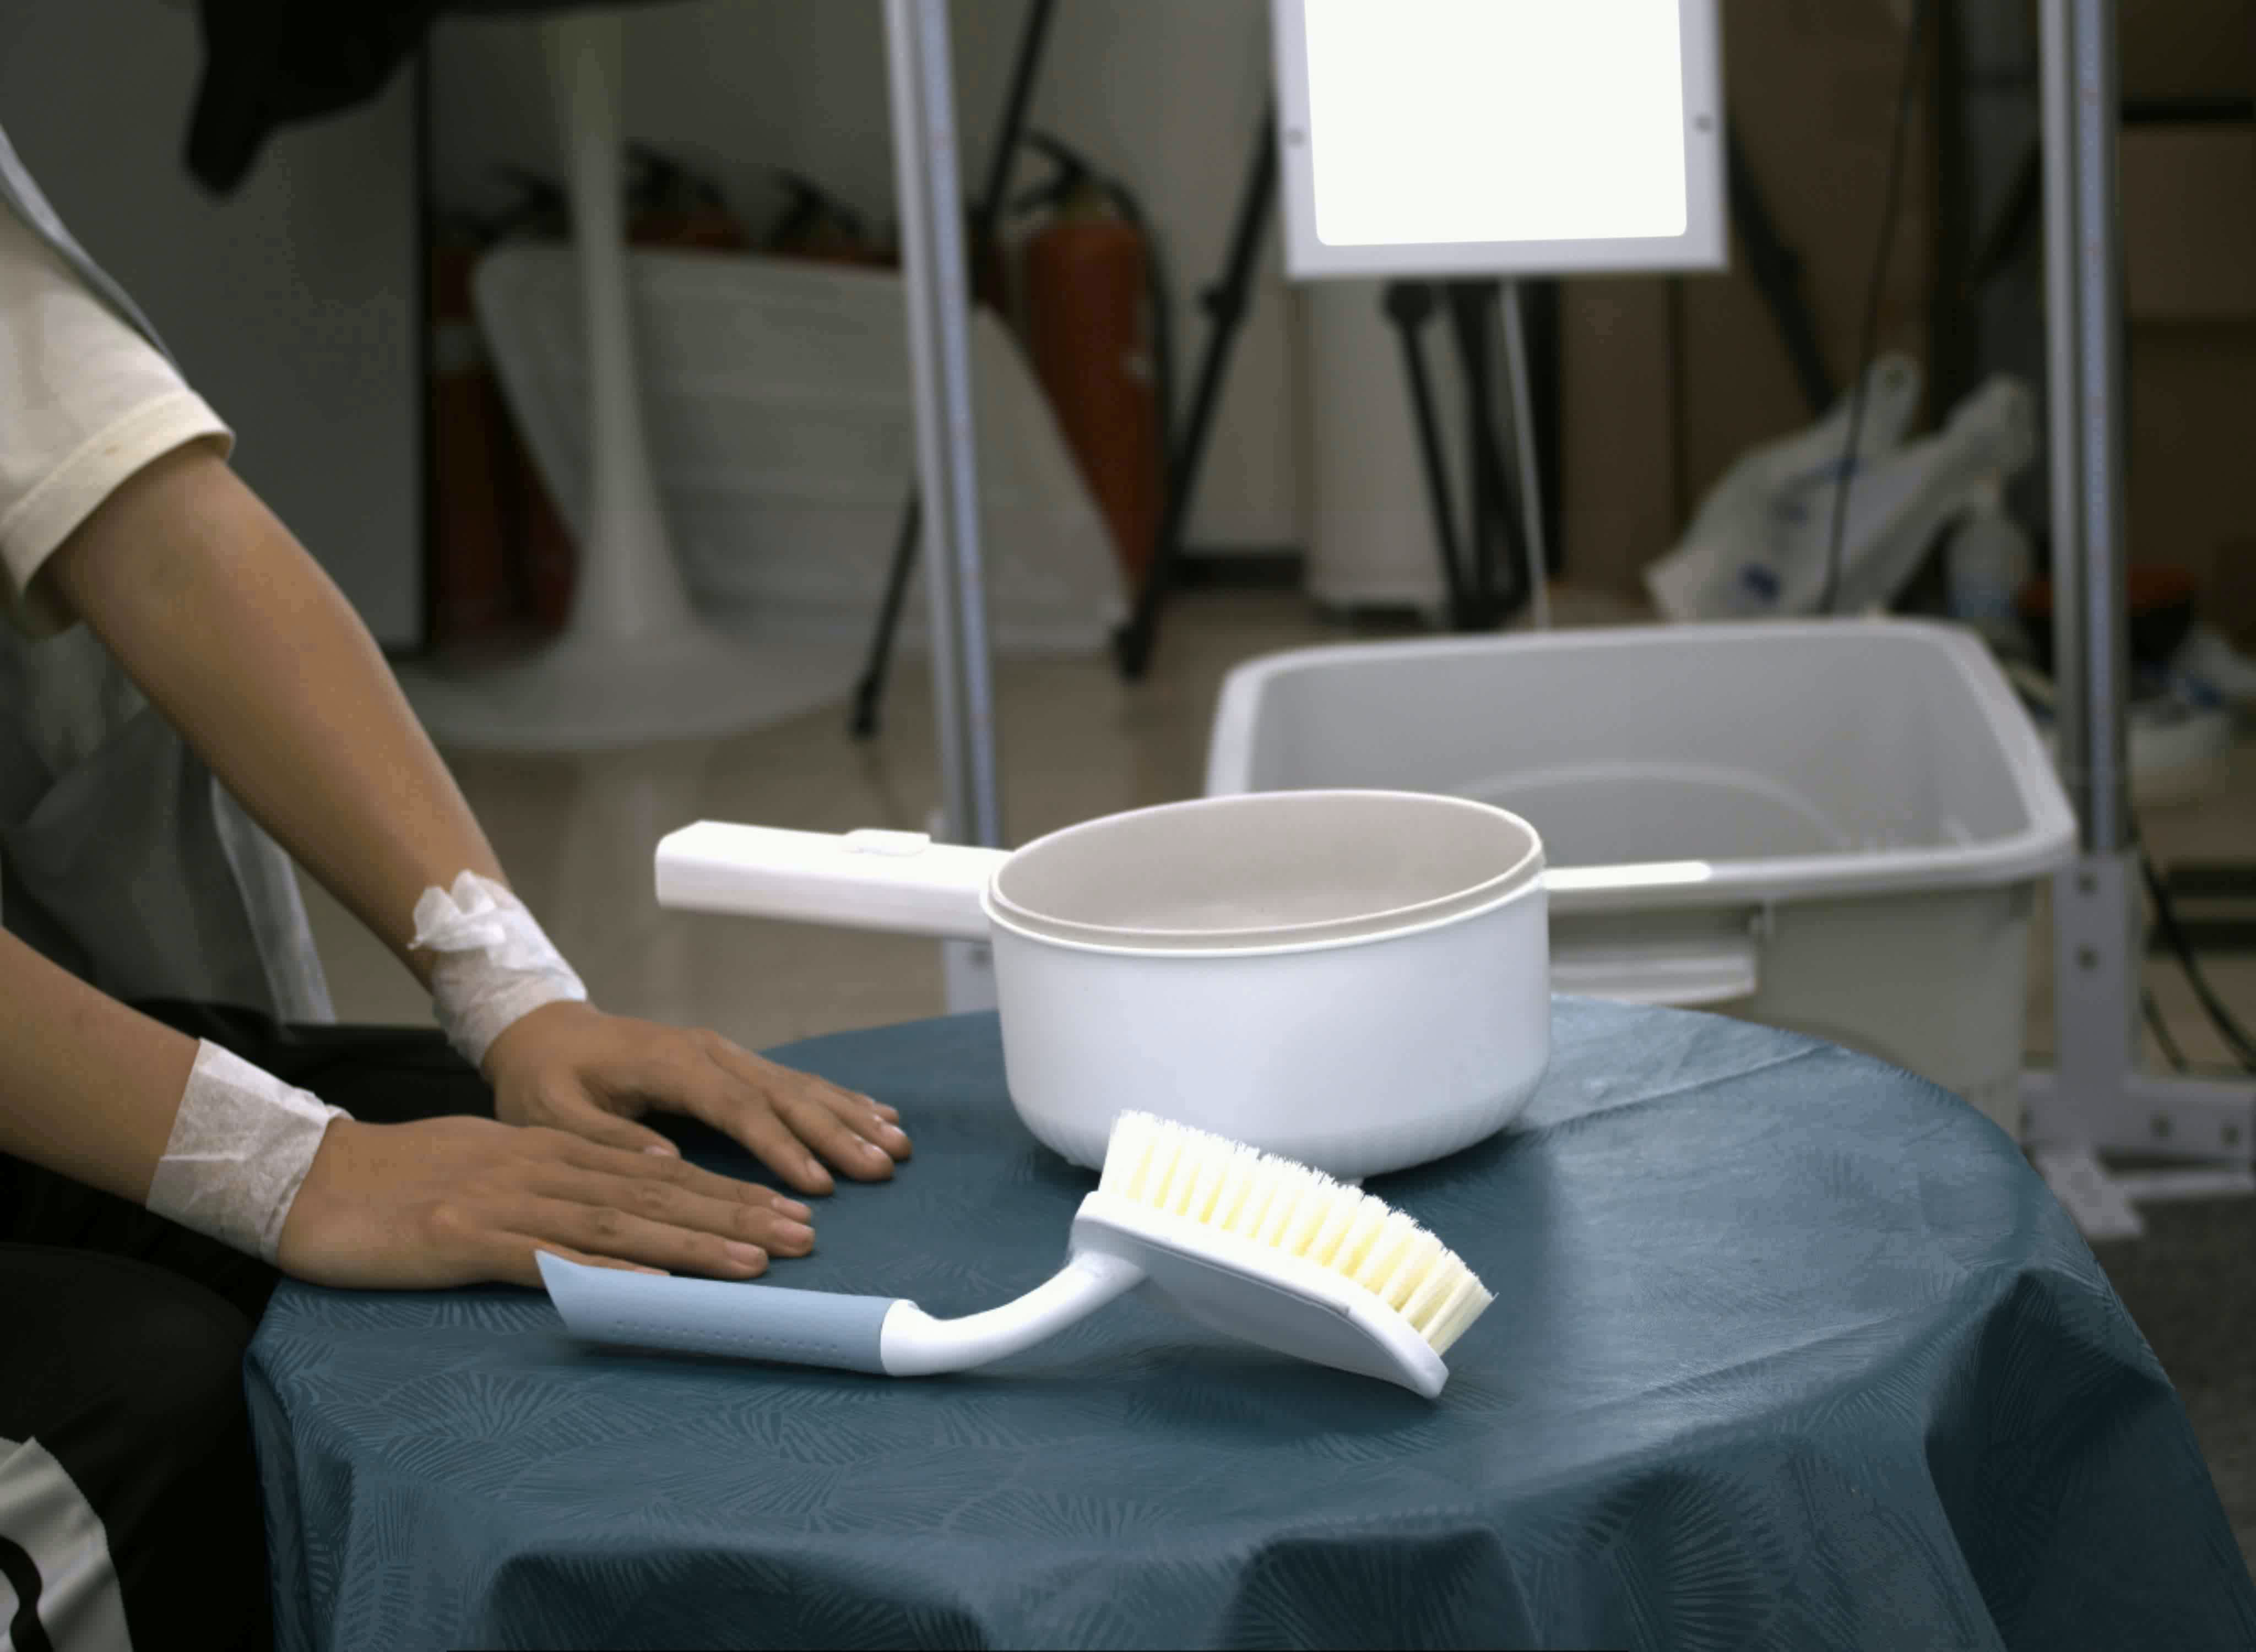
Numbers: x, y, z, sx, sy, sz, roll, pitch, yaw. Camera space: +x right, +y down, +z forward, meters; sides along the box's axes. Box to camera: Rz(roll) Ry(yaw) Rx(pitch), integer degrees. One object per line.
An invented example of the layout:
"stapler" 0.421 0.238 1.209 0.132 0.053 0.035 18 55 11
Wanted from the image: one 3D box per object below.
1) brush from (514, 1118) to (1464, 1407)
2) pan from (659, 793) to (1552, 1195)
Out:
"brush" -0.046 0.127 1.736 0.331 0.083 0.083 3 22 27
"pan" -0.014 0.057 1.981 0.362 0.102 0.196 3 16 33
